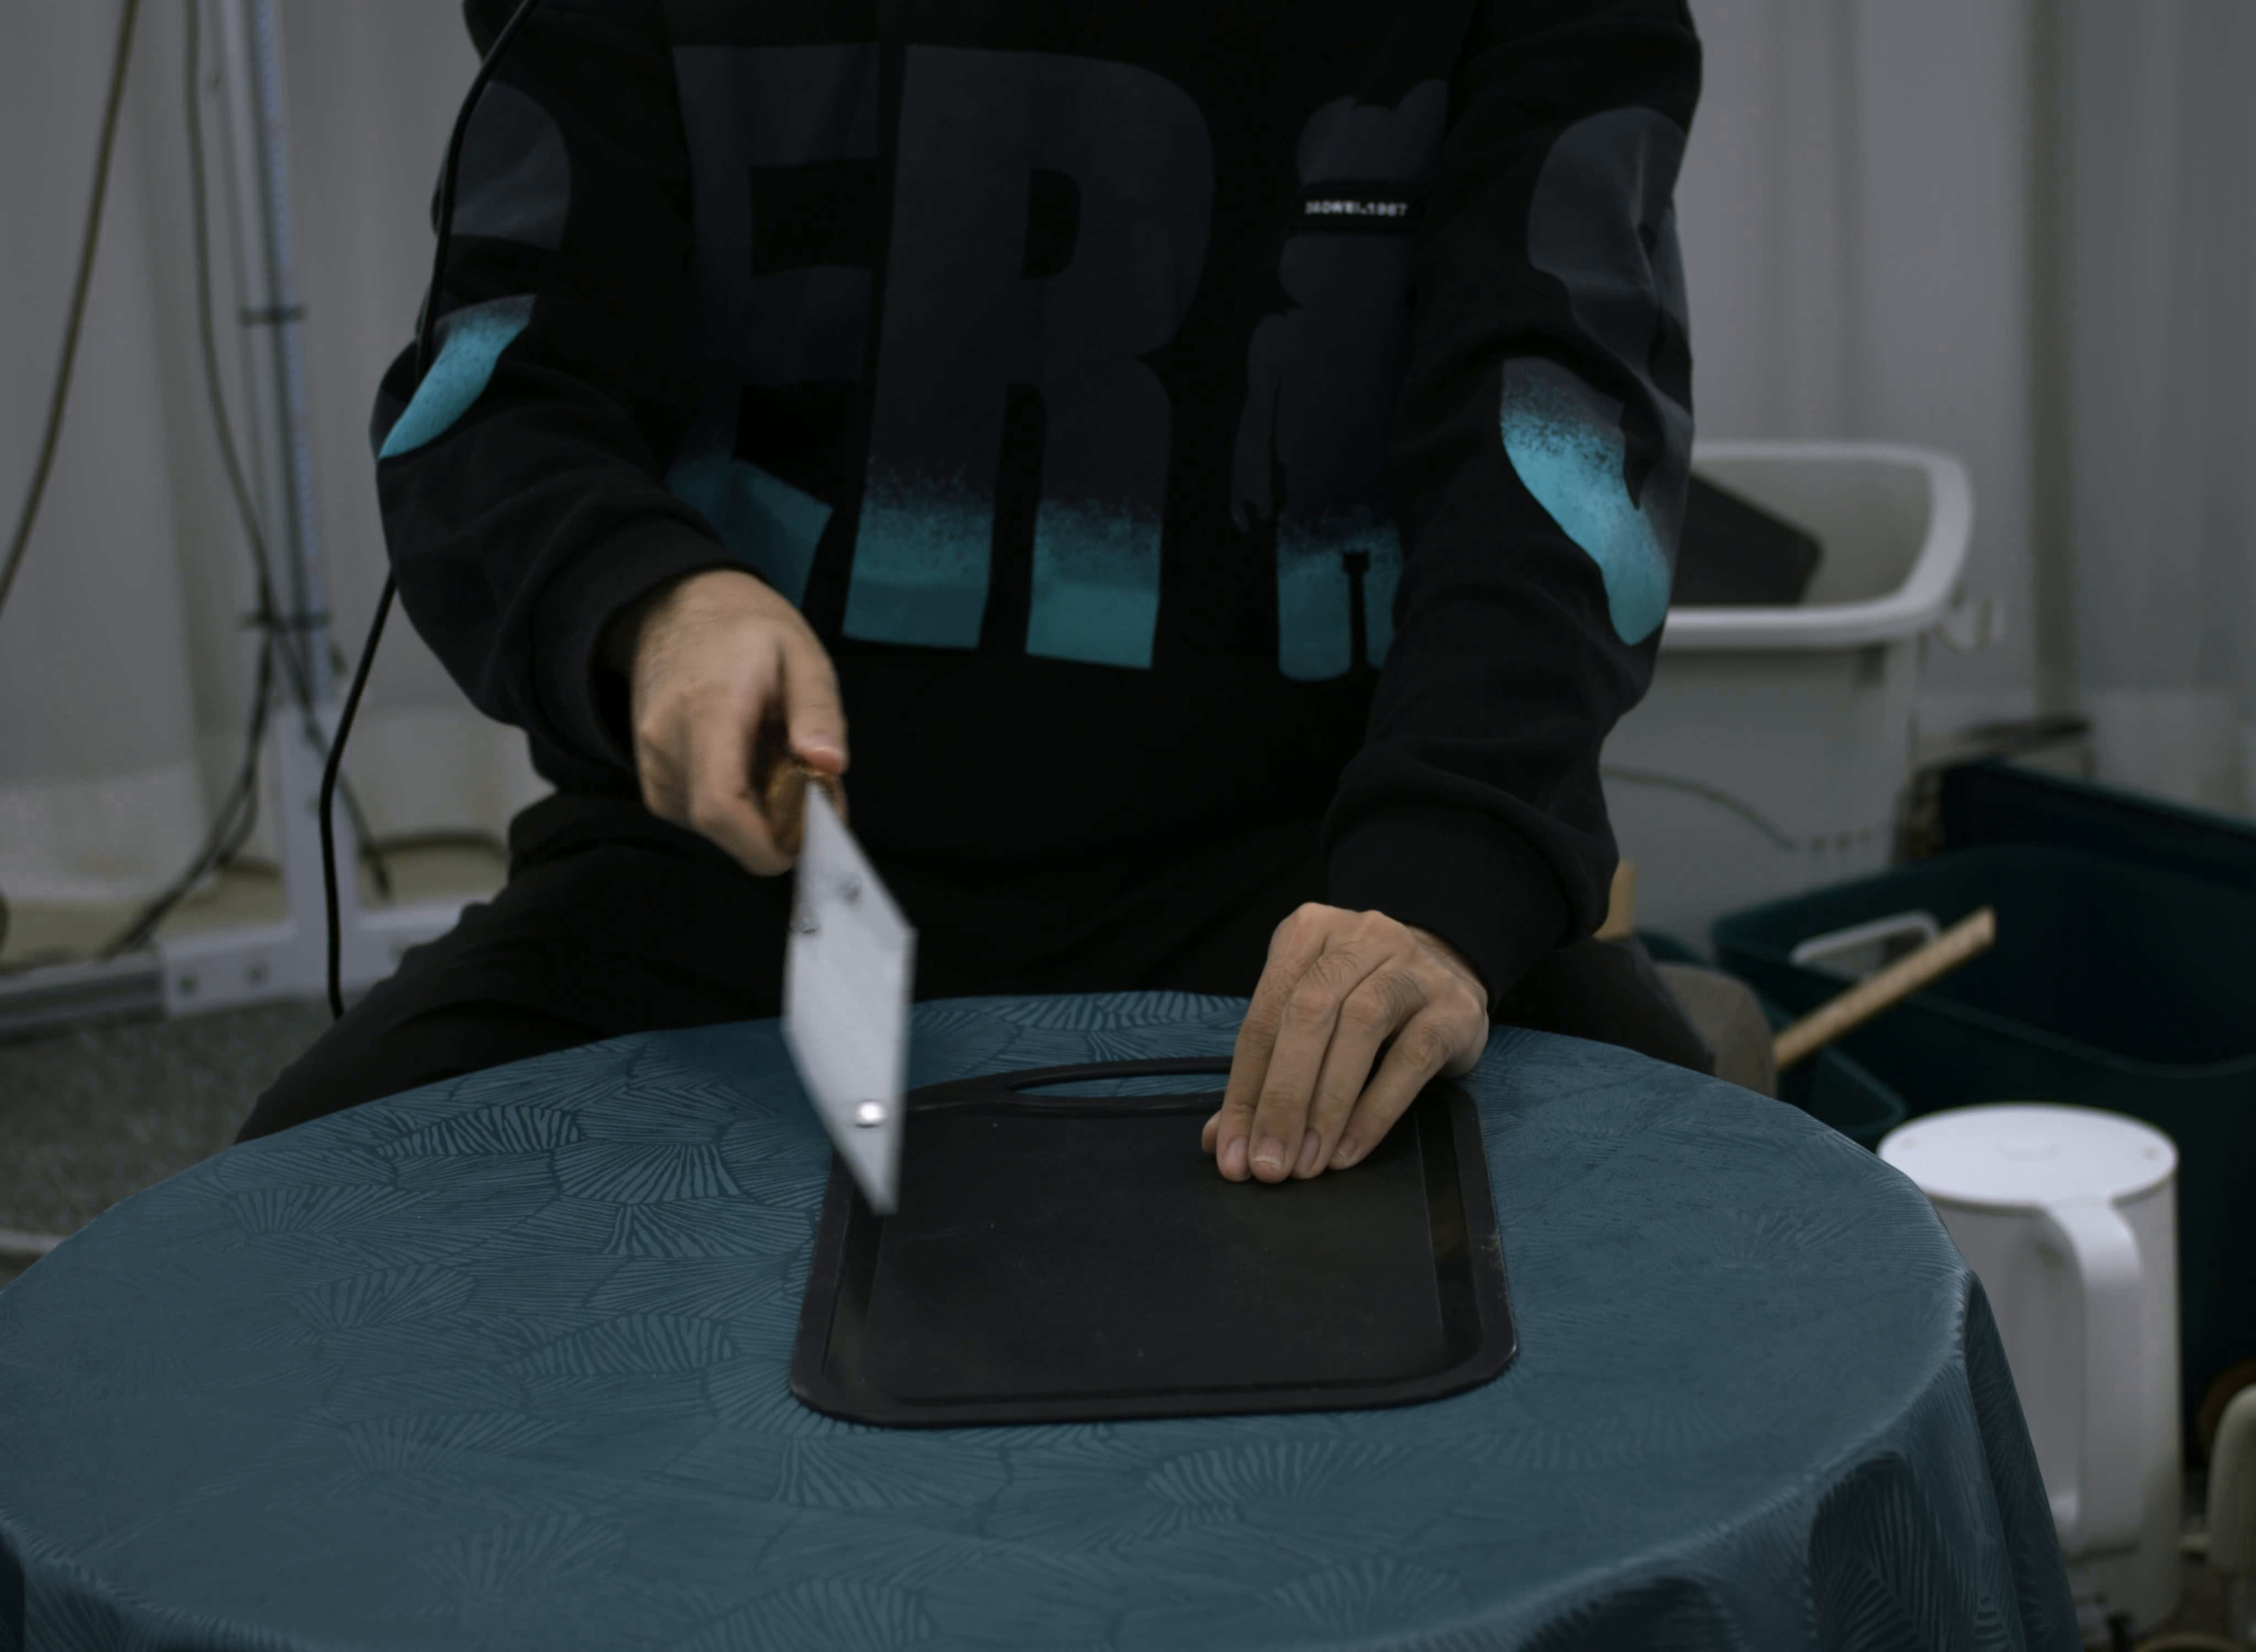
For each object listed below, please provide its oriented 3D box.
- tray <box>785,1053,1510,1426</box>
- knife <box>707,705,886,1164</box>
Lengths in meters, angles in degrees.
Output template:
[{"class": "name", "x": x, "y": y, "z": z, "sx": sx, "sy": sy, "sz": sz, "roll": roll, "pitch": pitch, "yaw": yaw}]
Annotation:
[{"class": "tray", "x": 0.007, "y": 0.120, "z": 1.679, "sx": 0.210, "sy": 0.010, "sz": 0.327, "roll": -2, "pitch": 15, "yaw": 2}, {"class": "knife", "x": -0.107, "y": 0.033, "z": 1.742, "sx": 0.021, "sy": 0.092, "sz": 0.308, "roll": 5, "pitch": 14, "yaw": -13}]
